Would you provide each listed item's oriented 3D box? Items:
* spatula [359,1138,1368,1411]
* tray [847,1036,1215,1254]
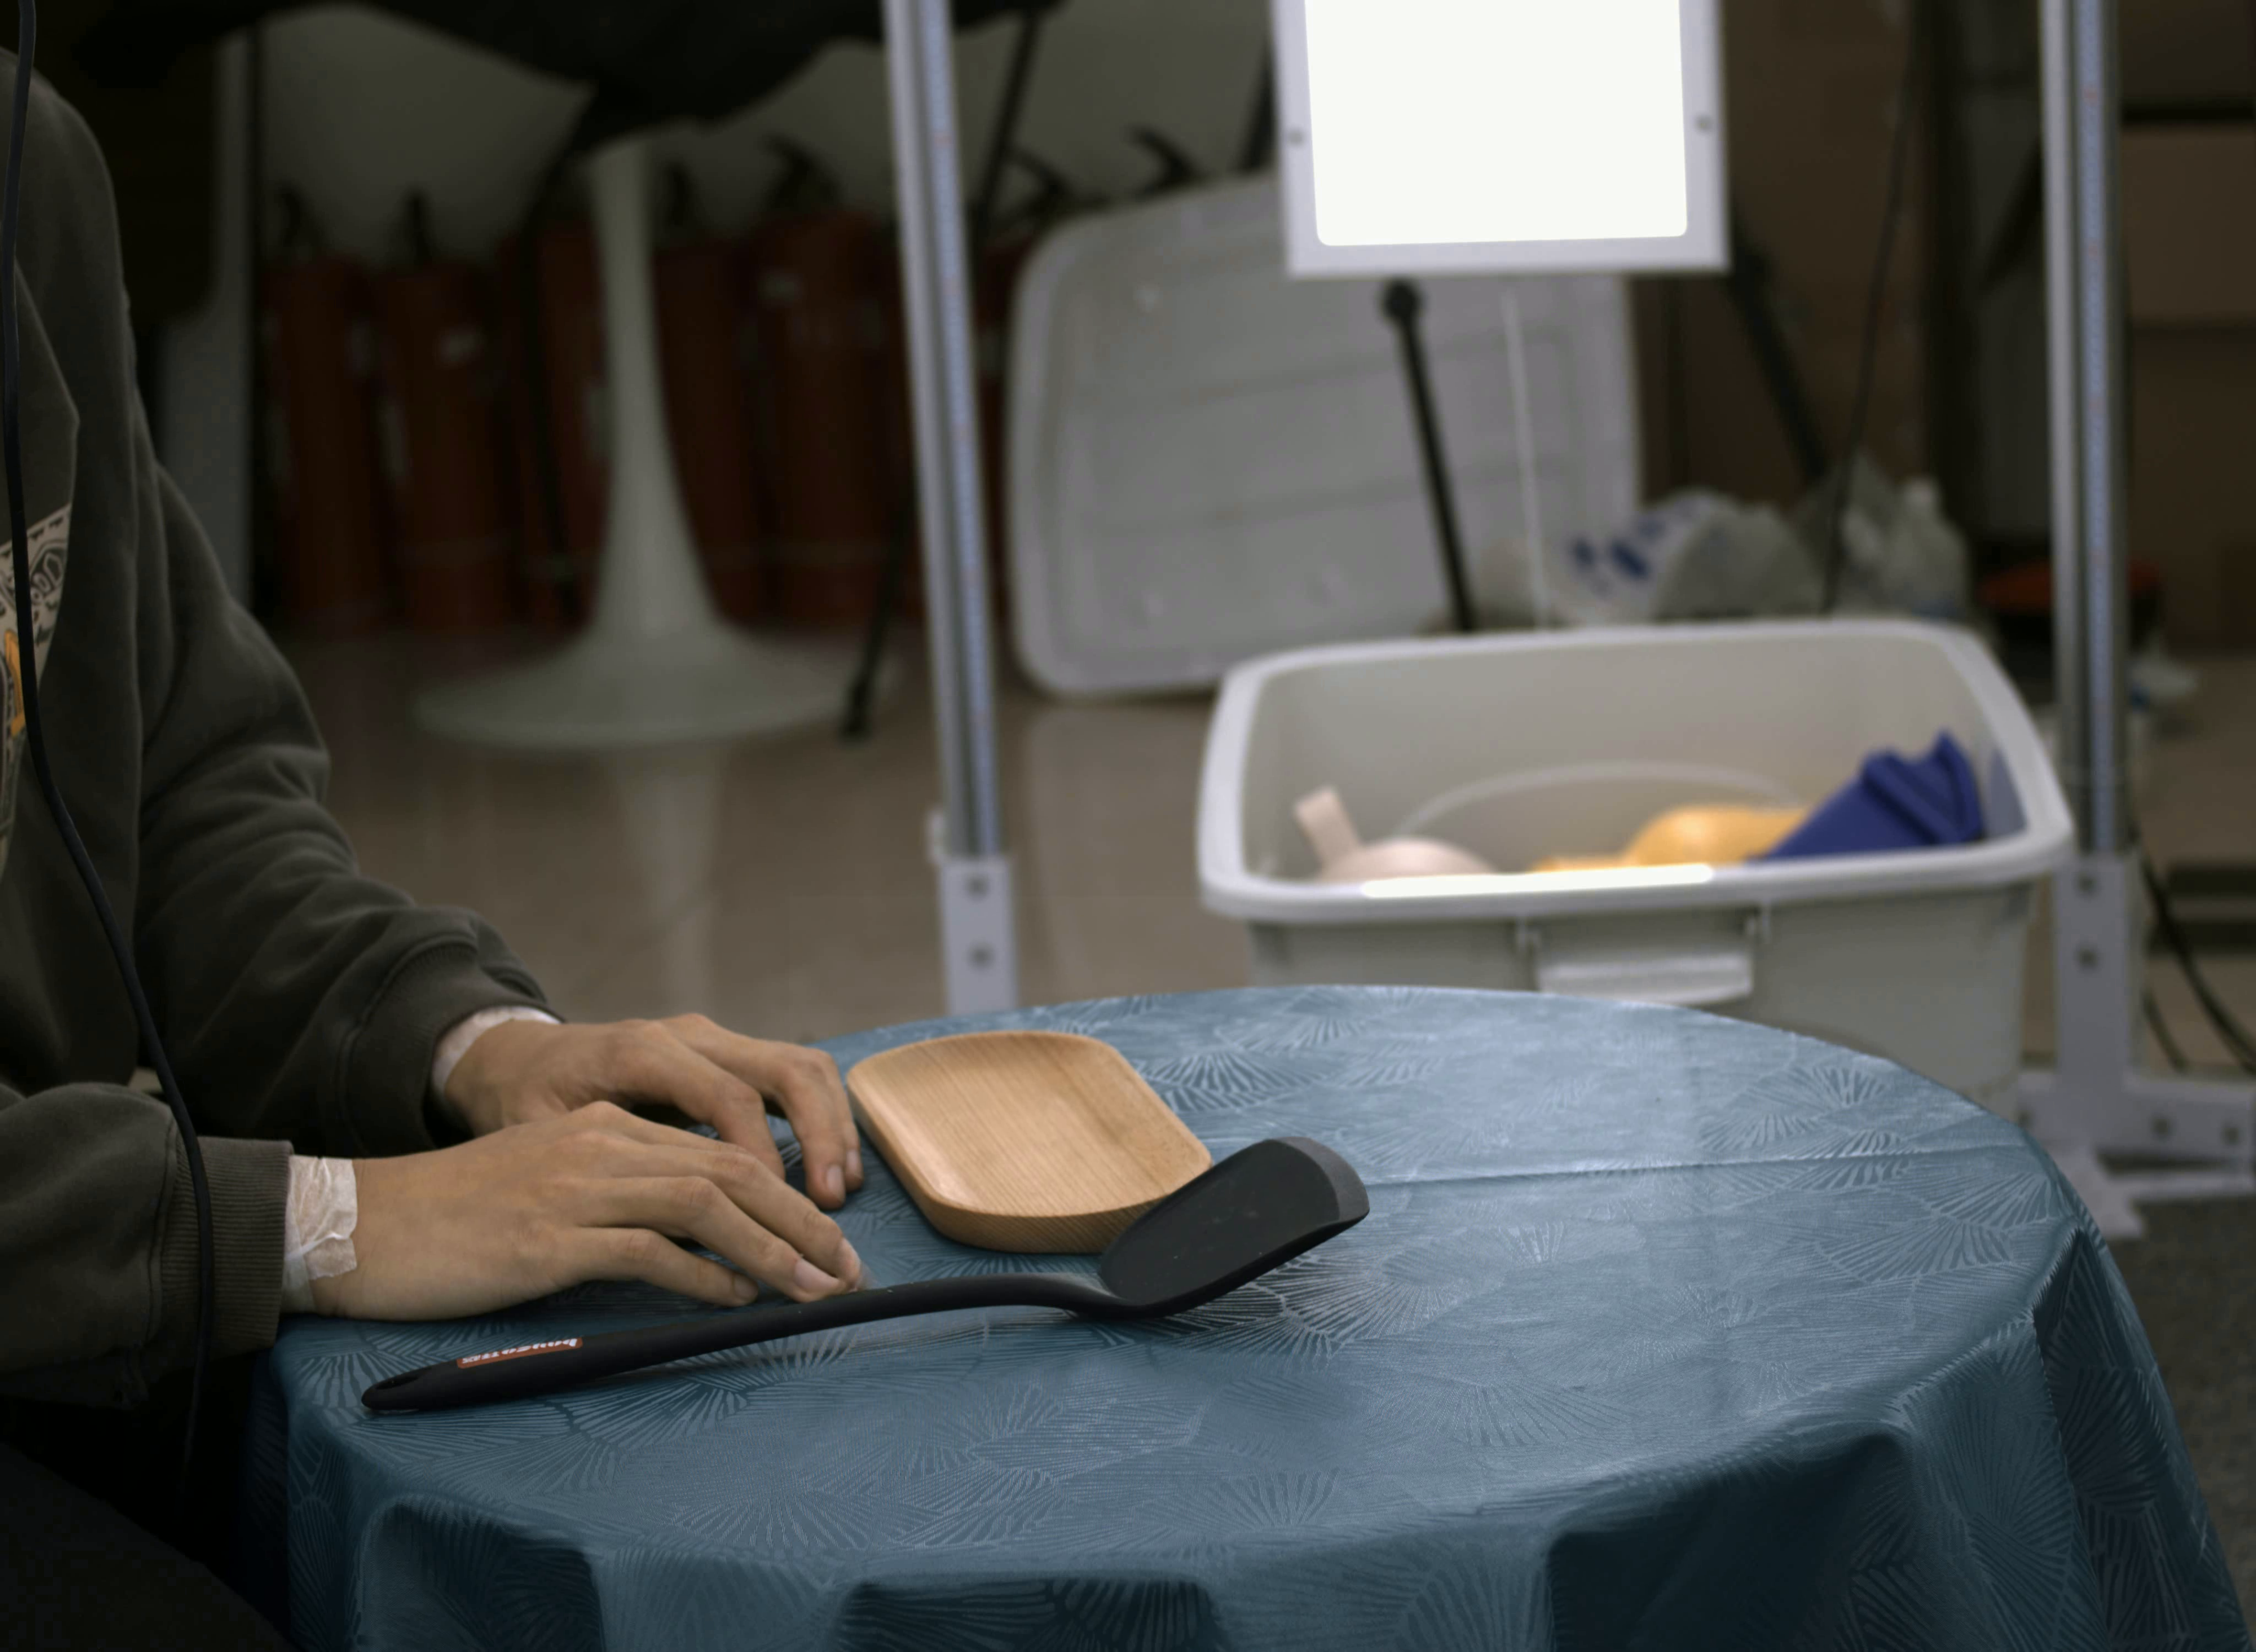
[{"bbox_3d":[-0.085,0.148,1.763,0.323,0.040,0.100,-7,13,-8],"label":"spatula"},{"bbox_3d":[-0.036,0.111,1.941,0.100,0.020,0.233,-9,15,-12],"label":"tray"}]
